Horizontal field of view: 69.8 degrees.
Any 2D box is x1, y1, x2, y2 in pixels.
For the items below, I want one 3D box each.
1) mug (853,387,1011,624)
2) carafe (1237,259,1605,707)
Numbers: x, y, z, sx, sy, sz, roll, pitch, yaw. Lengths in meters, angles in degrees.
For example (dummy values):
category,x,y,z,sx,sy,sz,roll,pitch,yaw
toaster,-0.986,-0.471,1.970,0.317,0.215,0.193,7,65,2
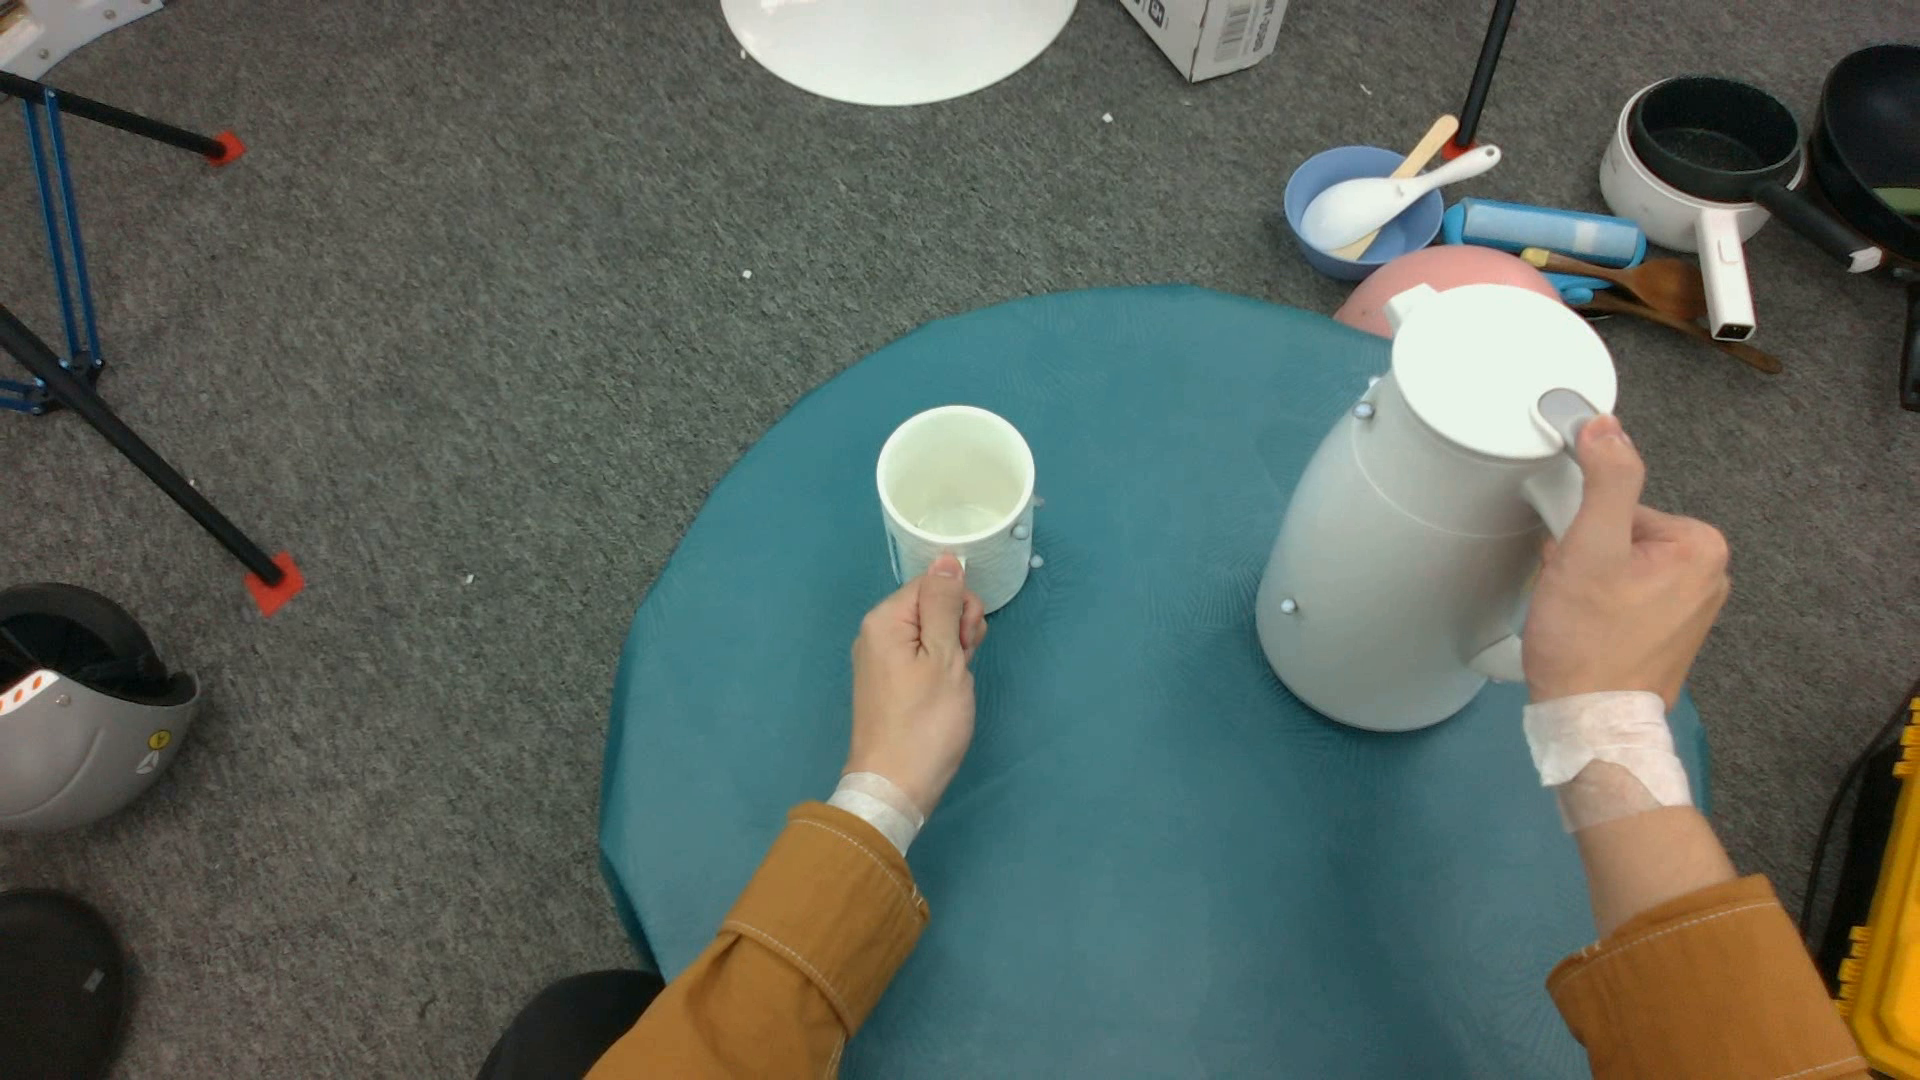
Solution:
category,x,y,z,sx,sy,sz,roll,pitch,yaw
mug,-0.014,-0.009,0.771,0.085,0.101,0.119,0,62,3
carafe,0.233,-0.013,0.675,0.133,0.247,0.168,-27,63,-15
